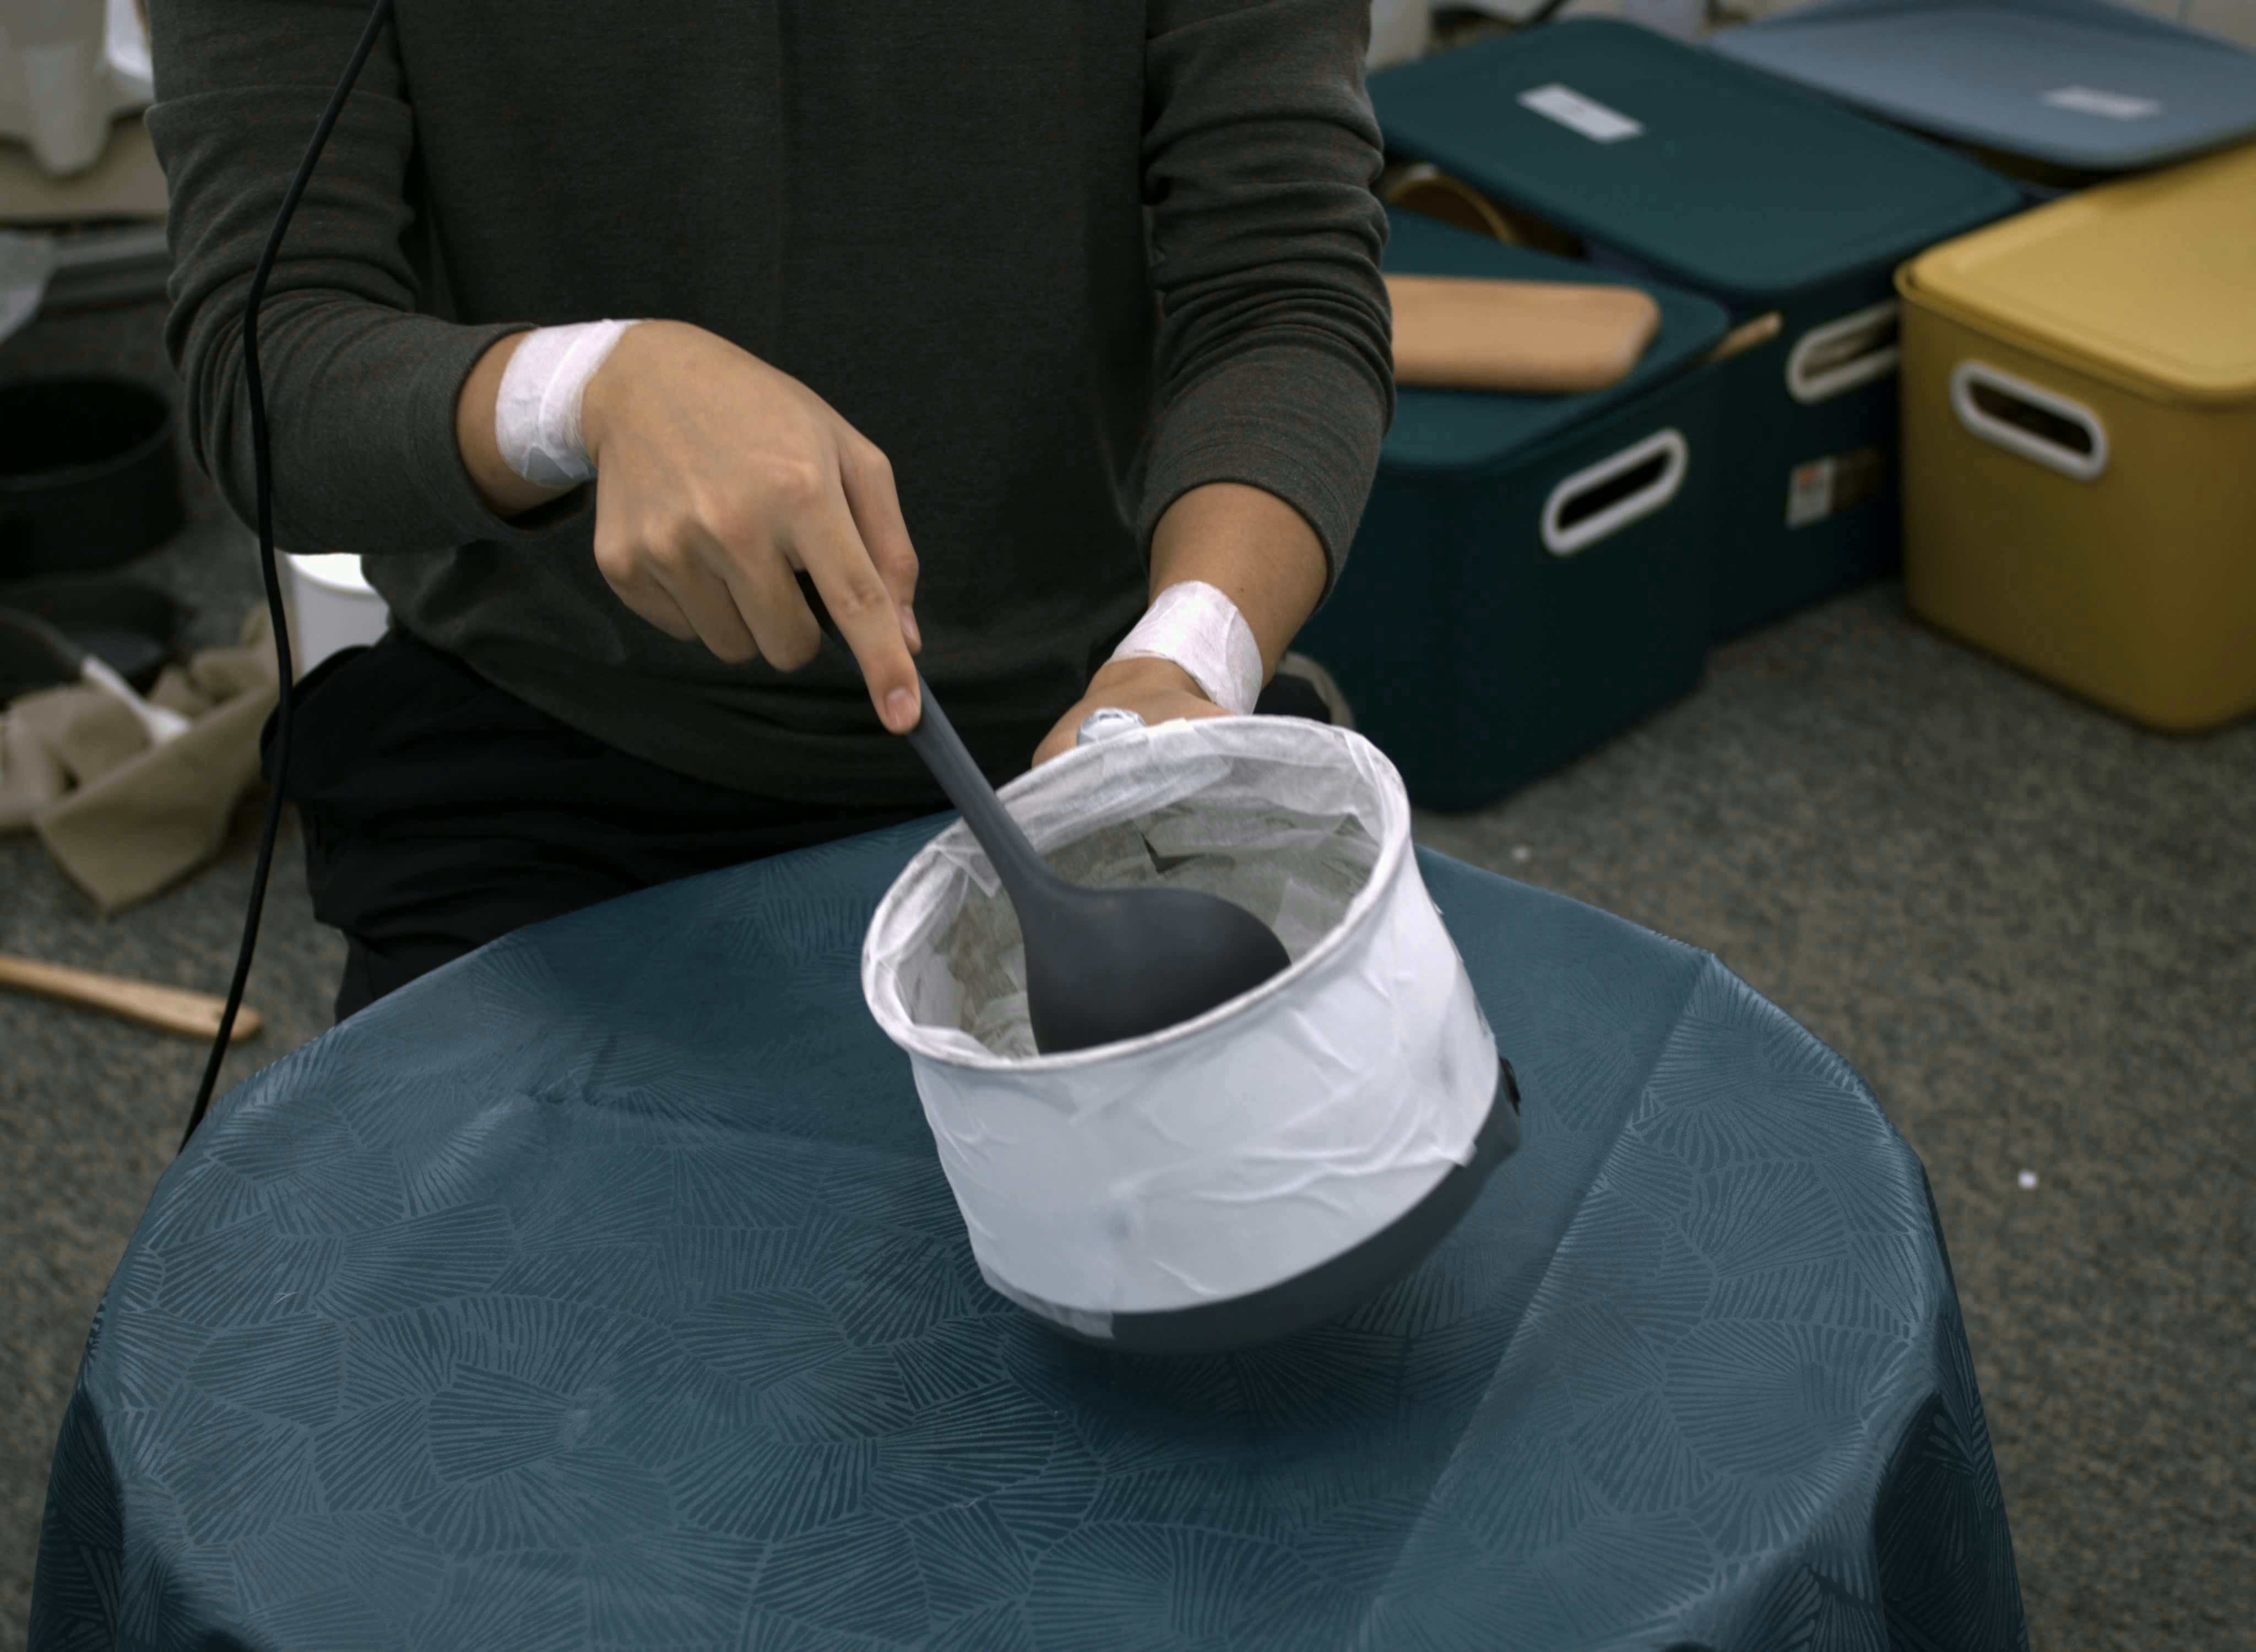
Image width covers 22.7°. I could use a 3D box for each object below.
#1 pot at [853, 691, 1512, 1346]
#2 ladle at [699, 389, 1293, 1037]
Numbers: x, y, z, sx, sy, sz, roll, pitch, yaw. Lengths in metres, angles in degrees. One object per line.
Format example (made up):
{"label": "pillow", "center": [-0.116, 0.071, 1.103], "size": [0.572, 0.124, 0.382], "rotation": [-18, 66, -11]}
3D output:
{"label": "pot", "center": [0.016, 0.050, 1.770], "size": [0.178, 0.135, 0.237], "rotation": [-18, 30, 3]}
{"label": "ladle", "center": [-0.054, -0.038, 1.822], "size": [0.063, 0.086, 0.317], "rotation": [33, 15, -50]}
